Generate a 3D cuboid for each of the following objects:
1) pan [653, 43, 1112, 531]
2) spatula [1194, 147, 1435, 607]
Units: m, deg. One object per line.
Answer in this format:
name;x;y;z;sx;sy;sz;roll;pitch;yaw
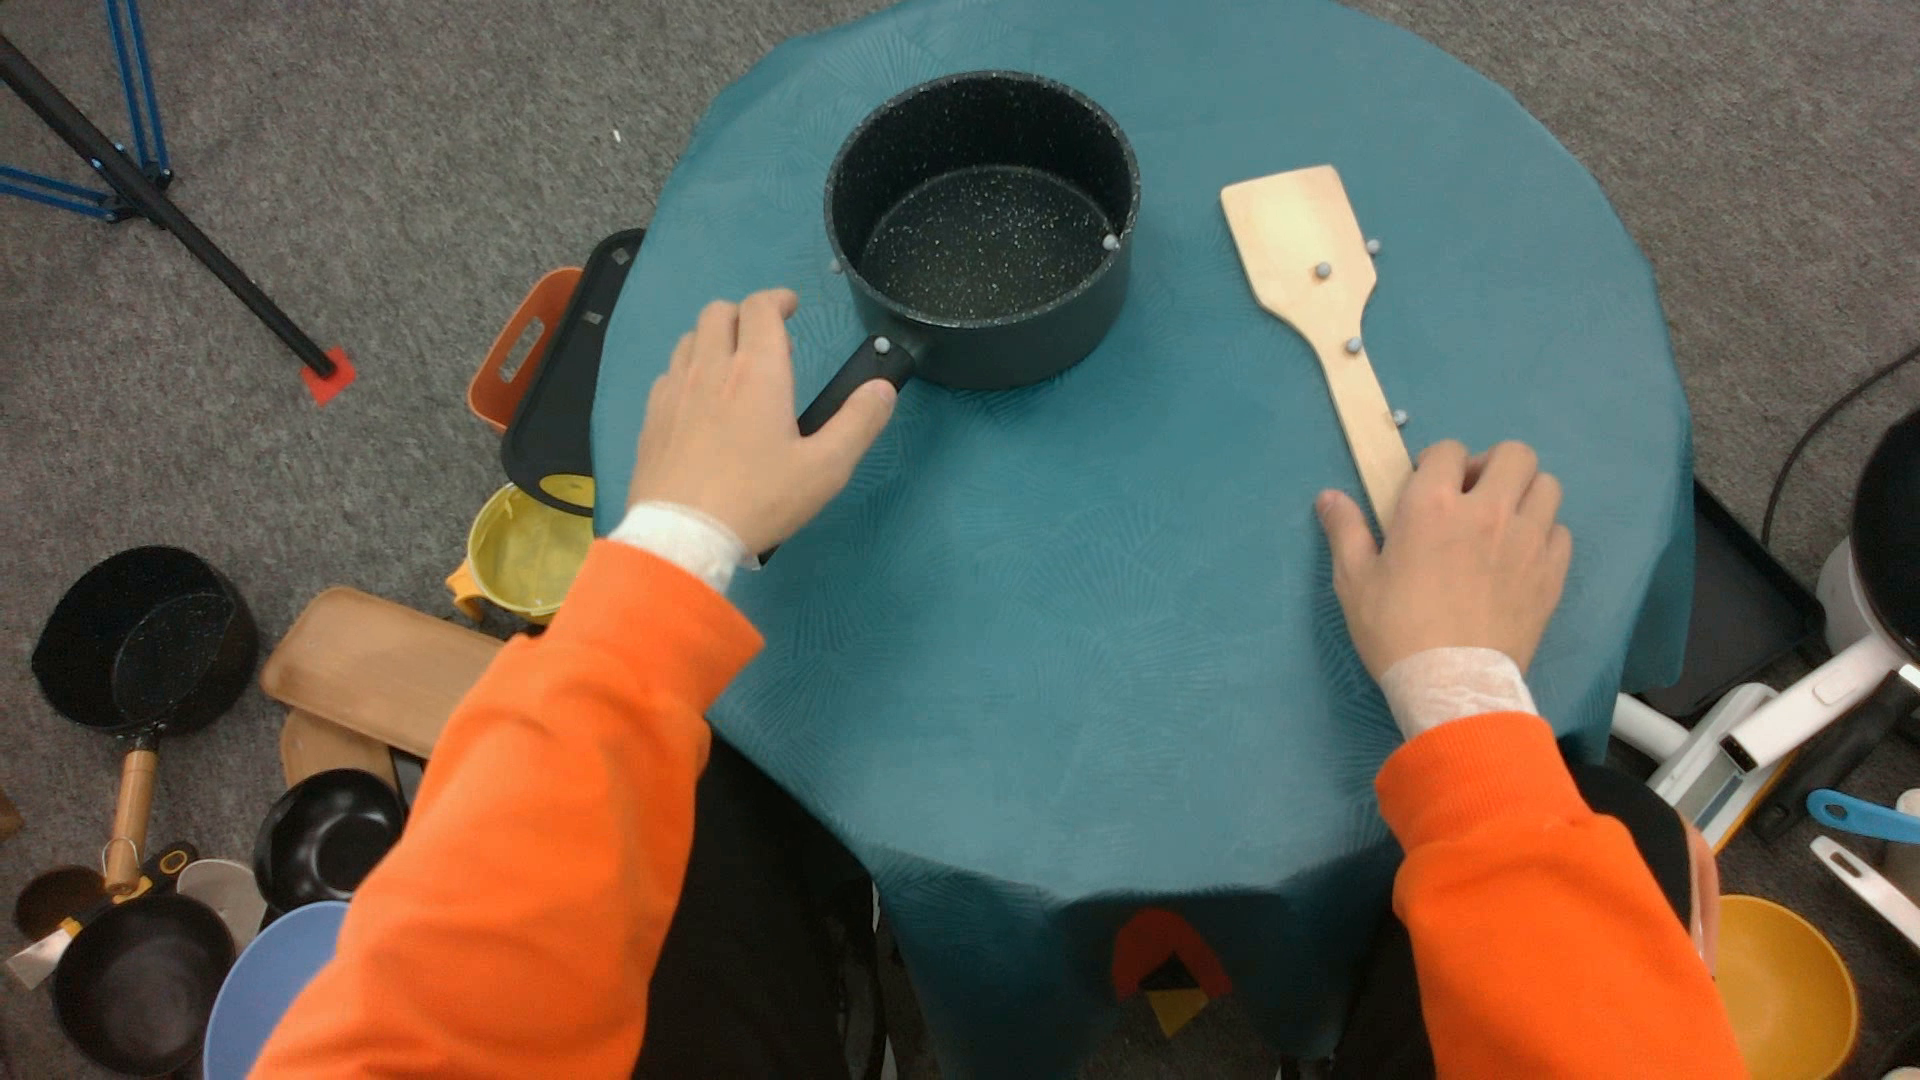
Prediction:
pan;-0.044;-0.124;0.741;0.172;0.086;0.330;28;69;17
spatula;0.199;-0.097;0.750;0.072;0.010;0.294;-11;65;-4
